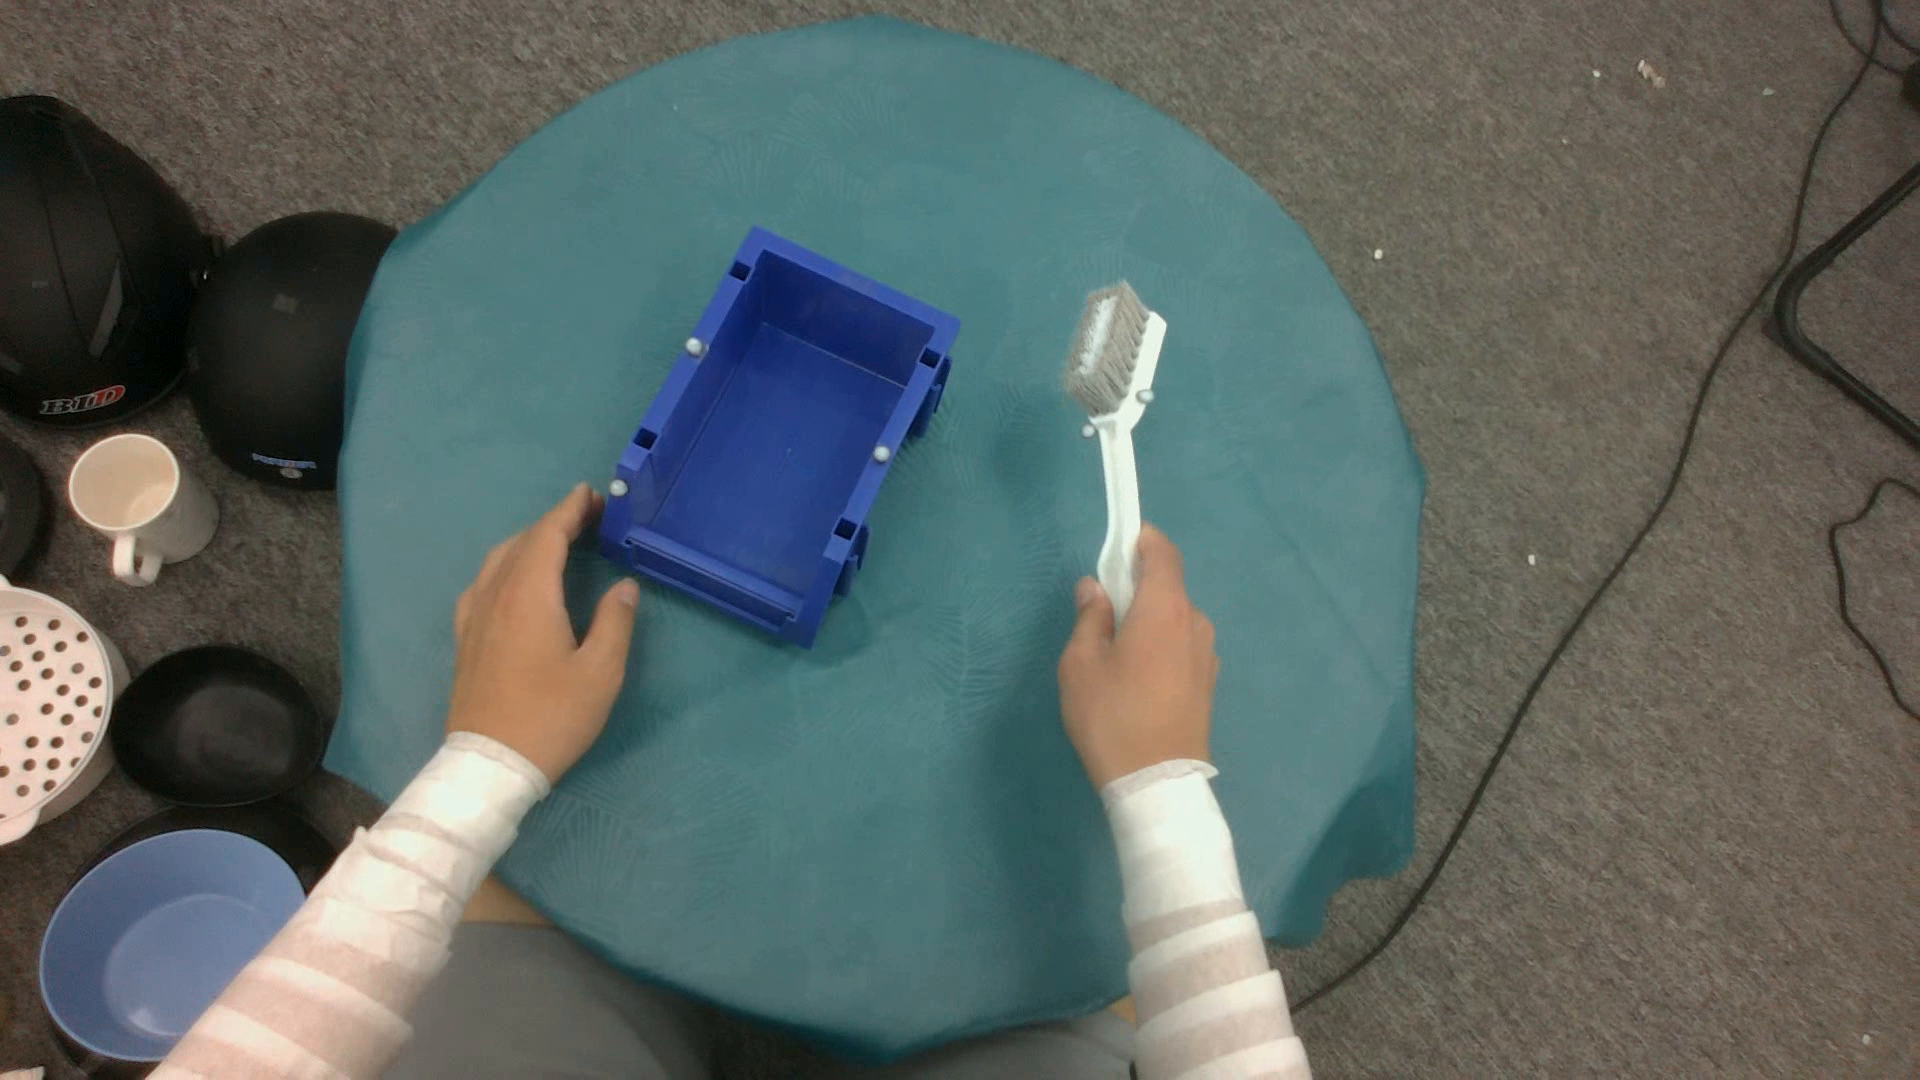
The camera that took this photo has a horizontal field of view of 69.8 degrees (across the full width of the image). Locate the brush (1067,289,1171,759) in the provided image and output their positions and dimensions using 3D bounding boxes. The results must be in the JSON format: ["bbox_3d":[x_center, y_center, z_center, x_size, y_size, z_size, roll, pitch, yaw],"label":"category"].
[{"bbox_3d":[0.076,-0.011,0.713,0.050,0.034,0.244,14,76,-37],"label":"brush"}]

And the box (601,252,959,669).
[{"bbox_3d":[-0.093,-0.039,0.731,0.124,0.081,0.180,25,68,0],"label":"box"}]
